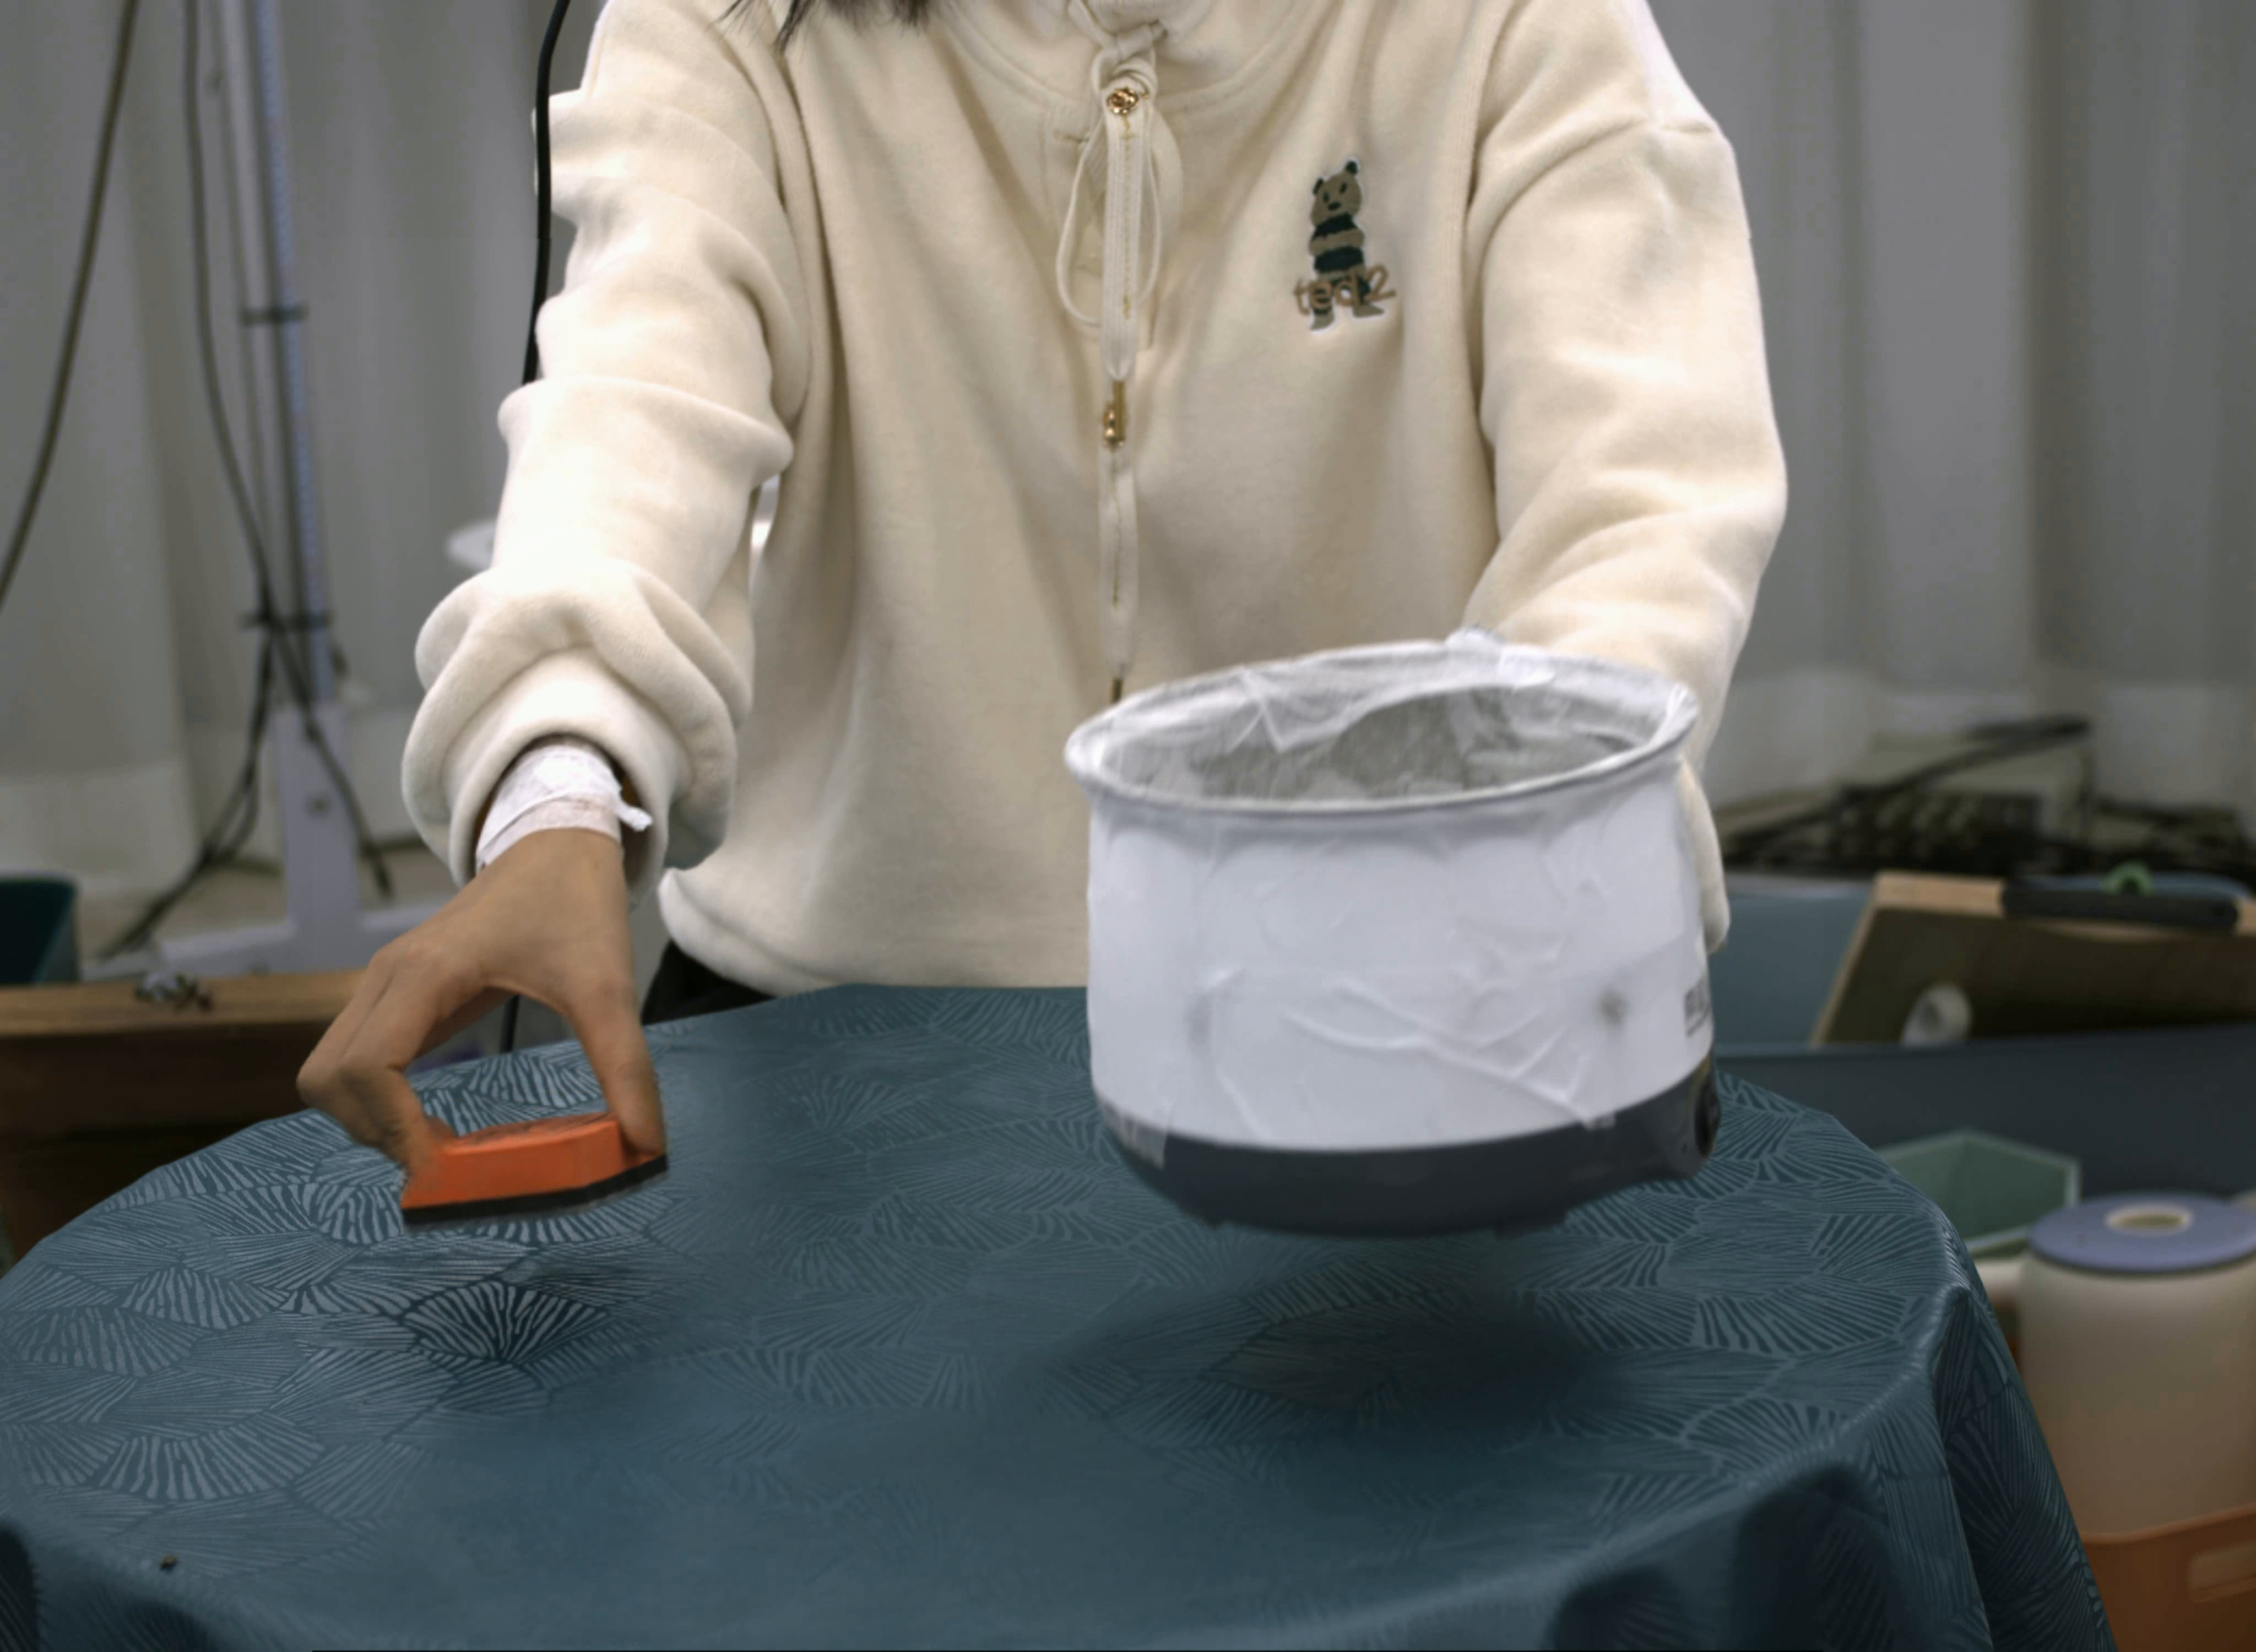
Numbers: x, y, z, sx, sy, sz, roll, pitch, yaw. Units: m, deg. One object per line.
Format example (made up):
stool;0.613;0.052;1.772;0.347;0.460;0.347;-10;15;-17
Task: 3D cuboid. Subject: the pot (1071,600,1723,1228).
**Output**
pot;0.085;0.020;1.562;0.178;0.136;0.235;1;16;17

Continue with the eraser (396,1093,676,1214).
eraser;-0.174;0.097;1.620;0.059;0.023;0.108;-9;-1;11
